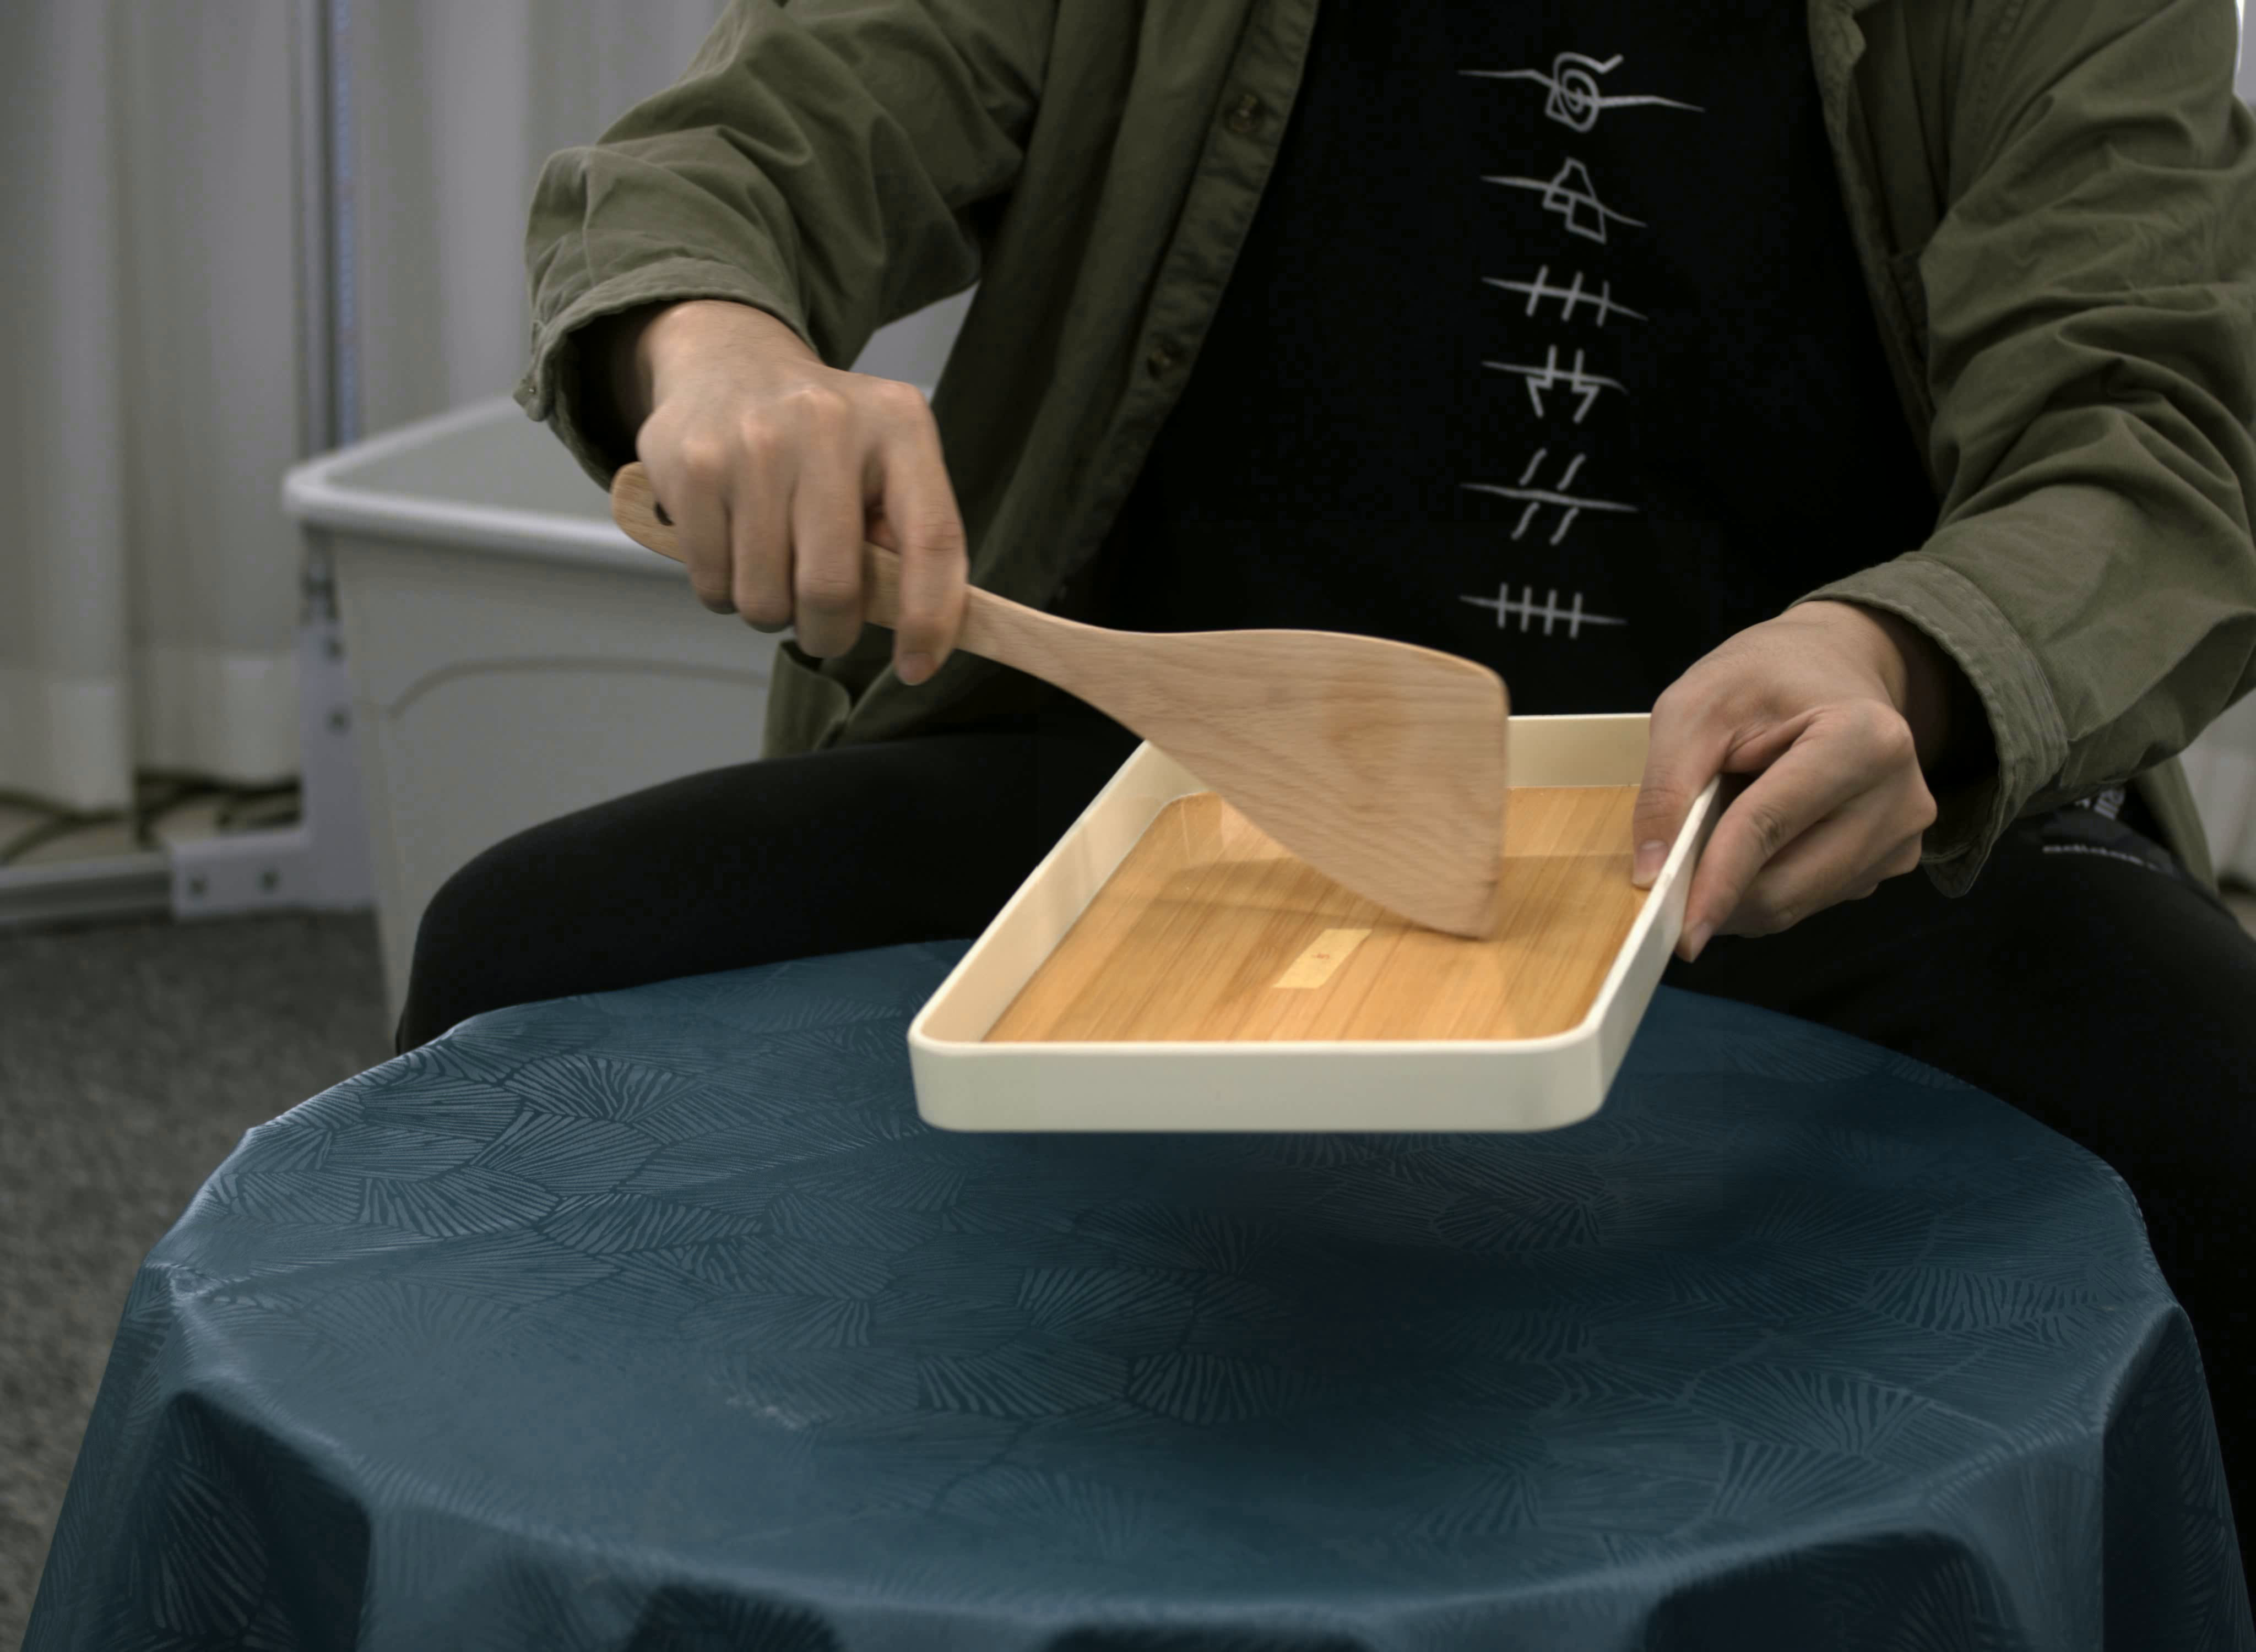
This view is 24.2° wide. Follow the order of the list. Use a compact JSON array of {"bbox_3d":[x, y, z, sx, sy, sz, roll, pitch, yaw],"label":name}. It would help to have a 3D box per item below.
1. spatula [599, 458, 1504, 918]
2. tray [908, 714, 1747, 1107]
[{"bbox_3d":[-0.027,-0.057,1.567,0.324,0.080,0.016,19,20,24],"label":"spatula"},{"bbox_3d":[0.066,0.020,1.526,0.190,0.027,0.300,0,17,15],"label":"tray"}]
